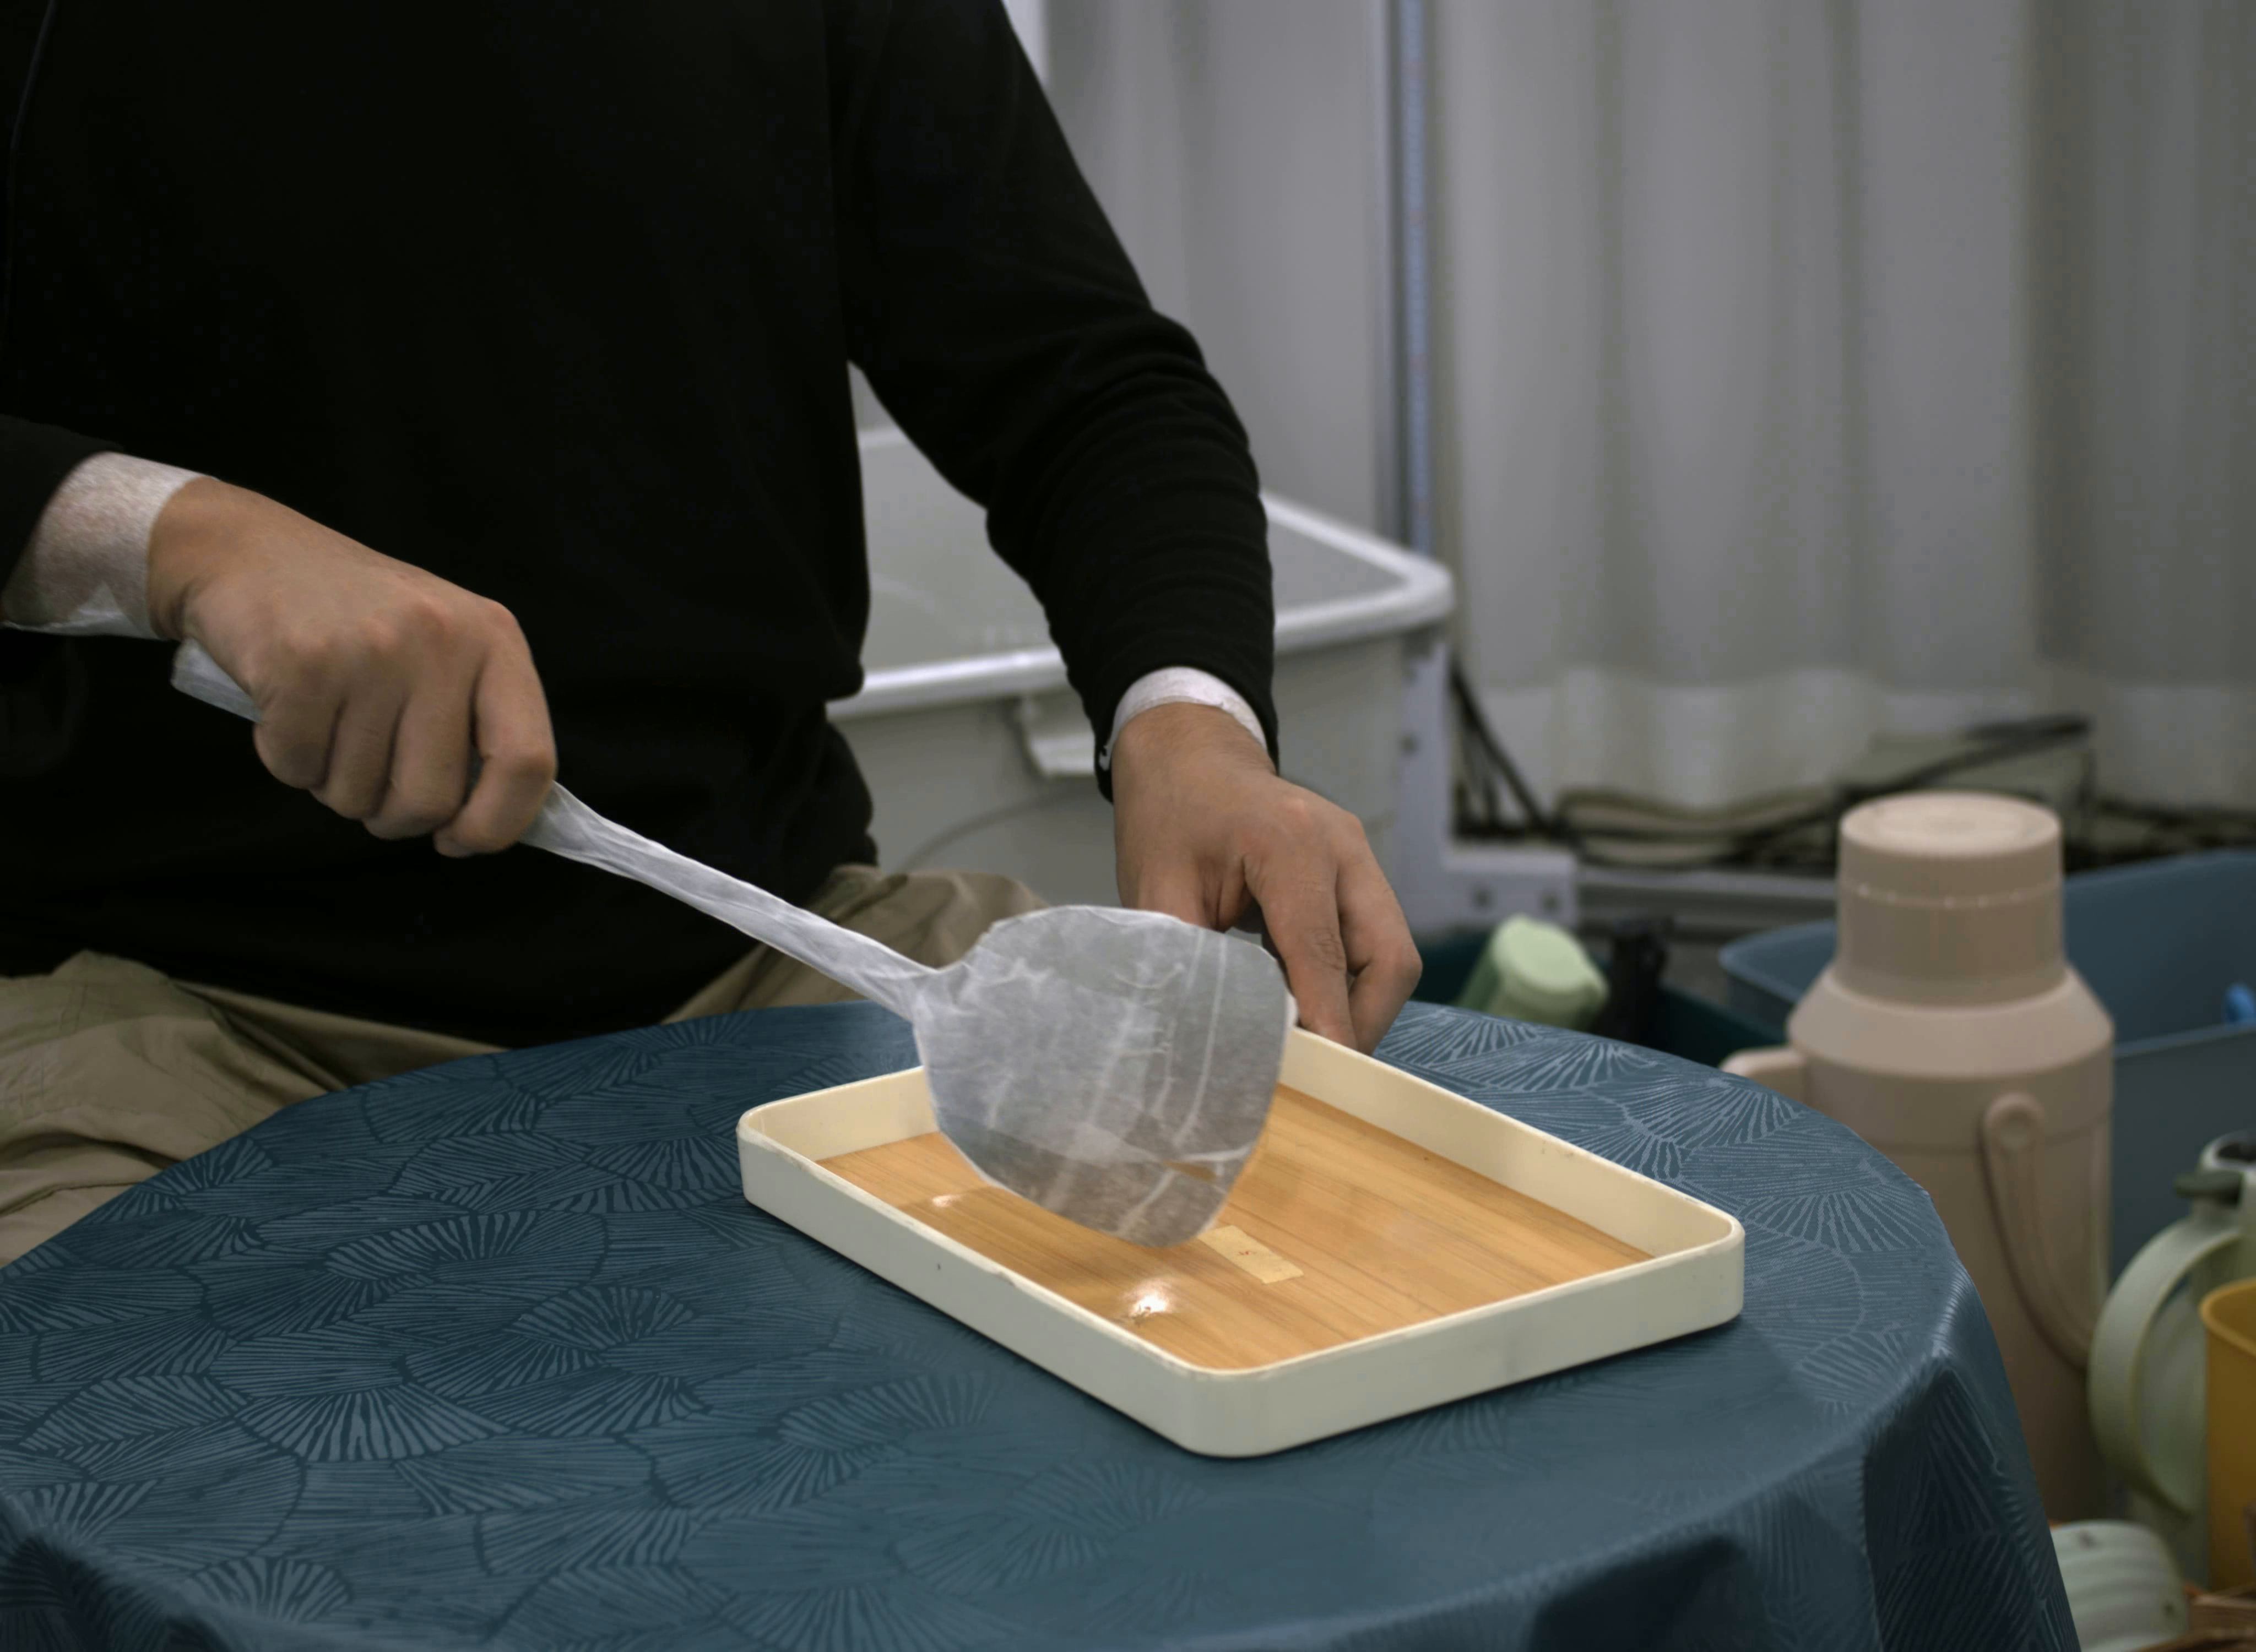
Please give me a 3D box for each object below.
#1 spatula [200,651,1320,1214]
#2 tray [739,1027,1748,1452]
[{"bbox_3d":[-0.116,0.013,1.659,0.366,0.098,0.044,22,8,18],"label":"spatula"},{"bbox_3d":[0.028,0.116,1.646,0.191,0.027,0.302,-12,17,-28],"label":"tray"}]
